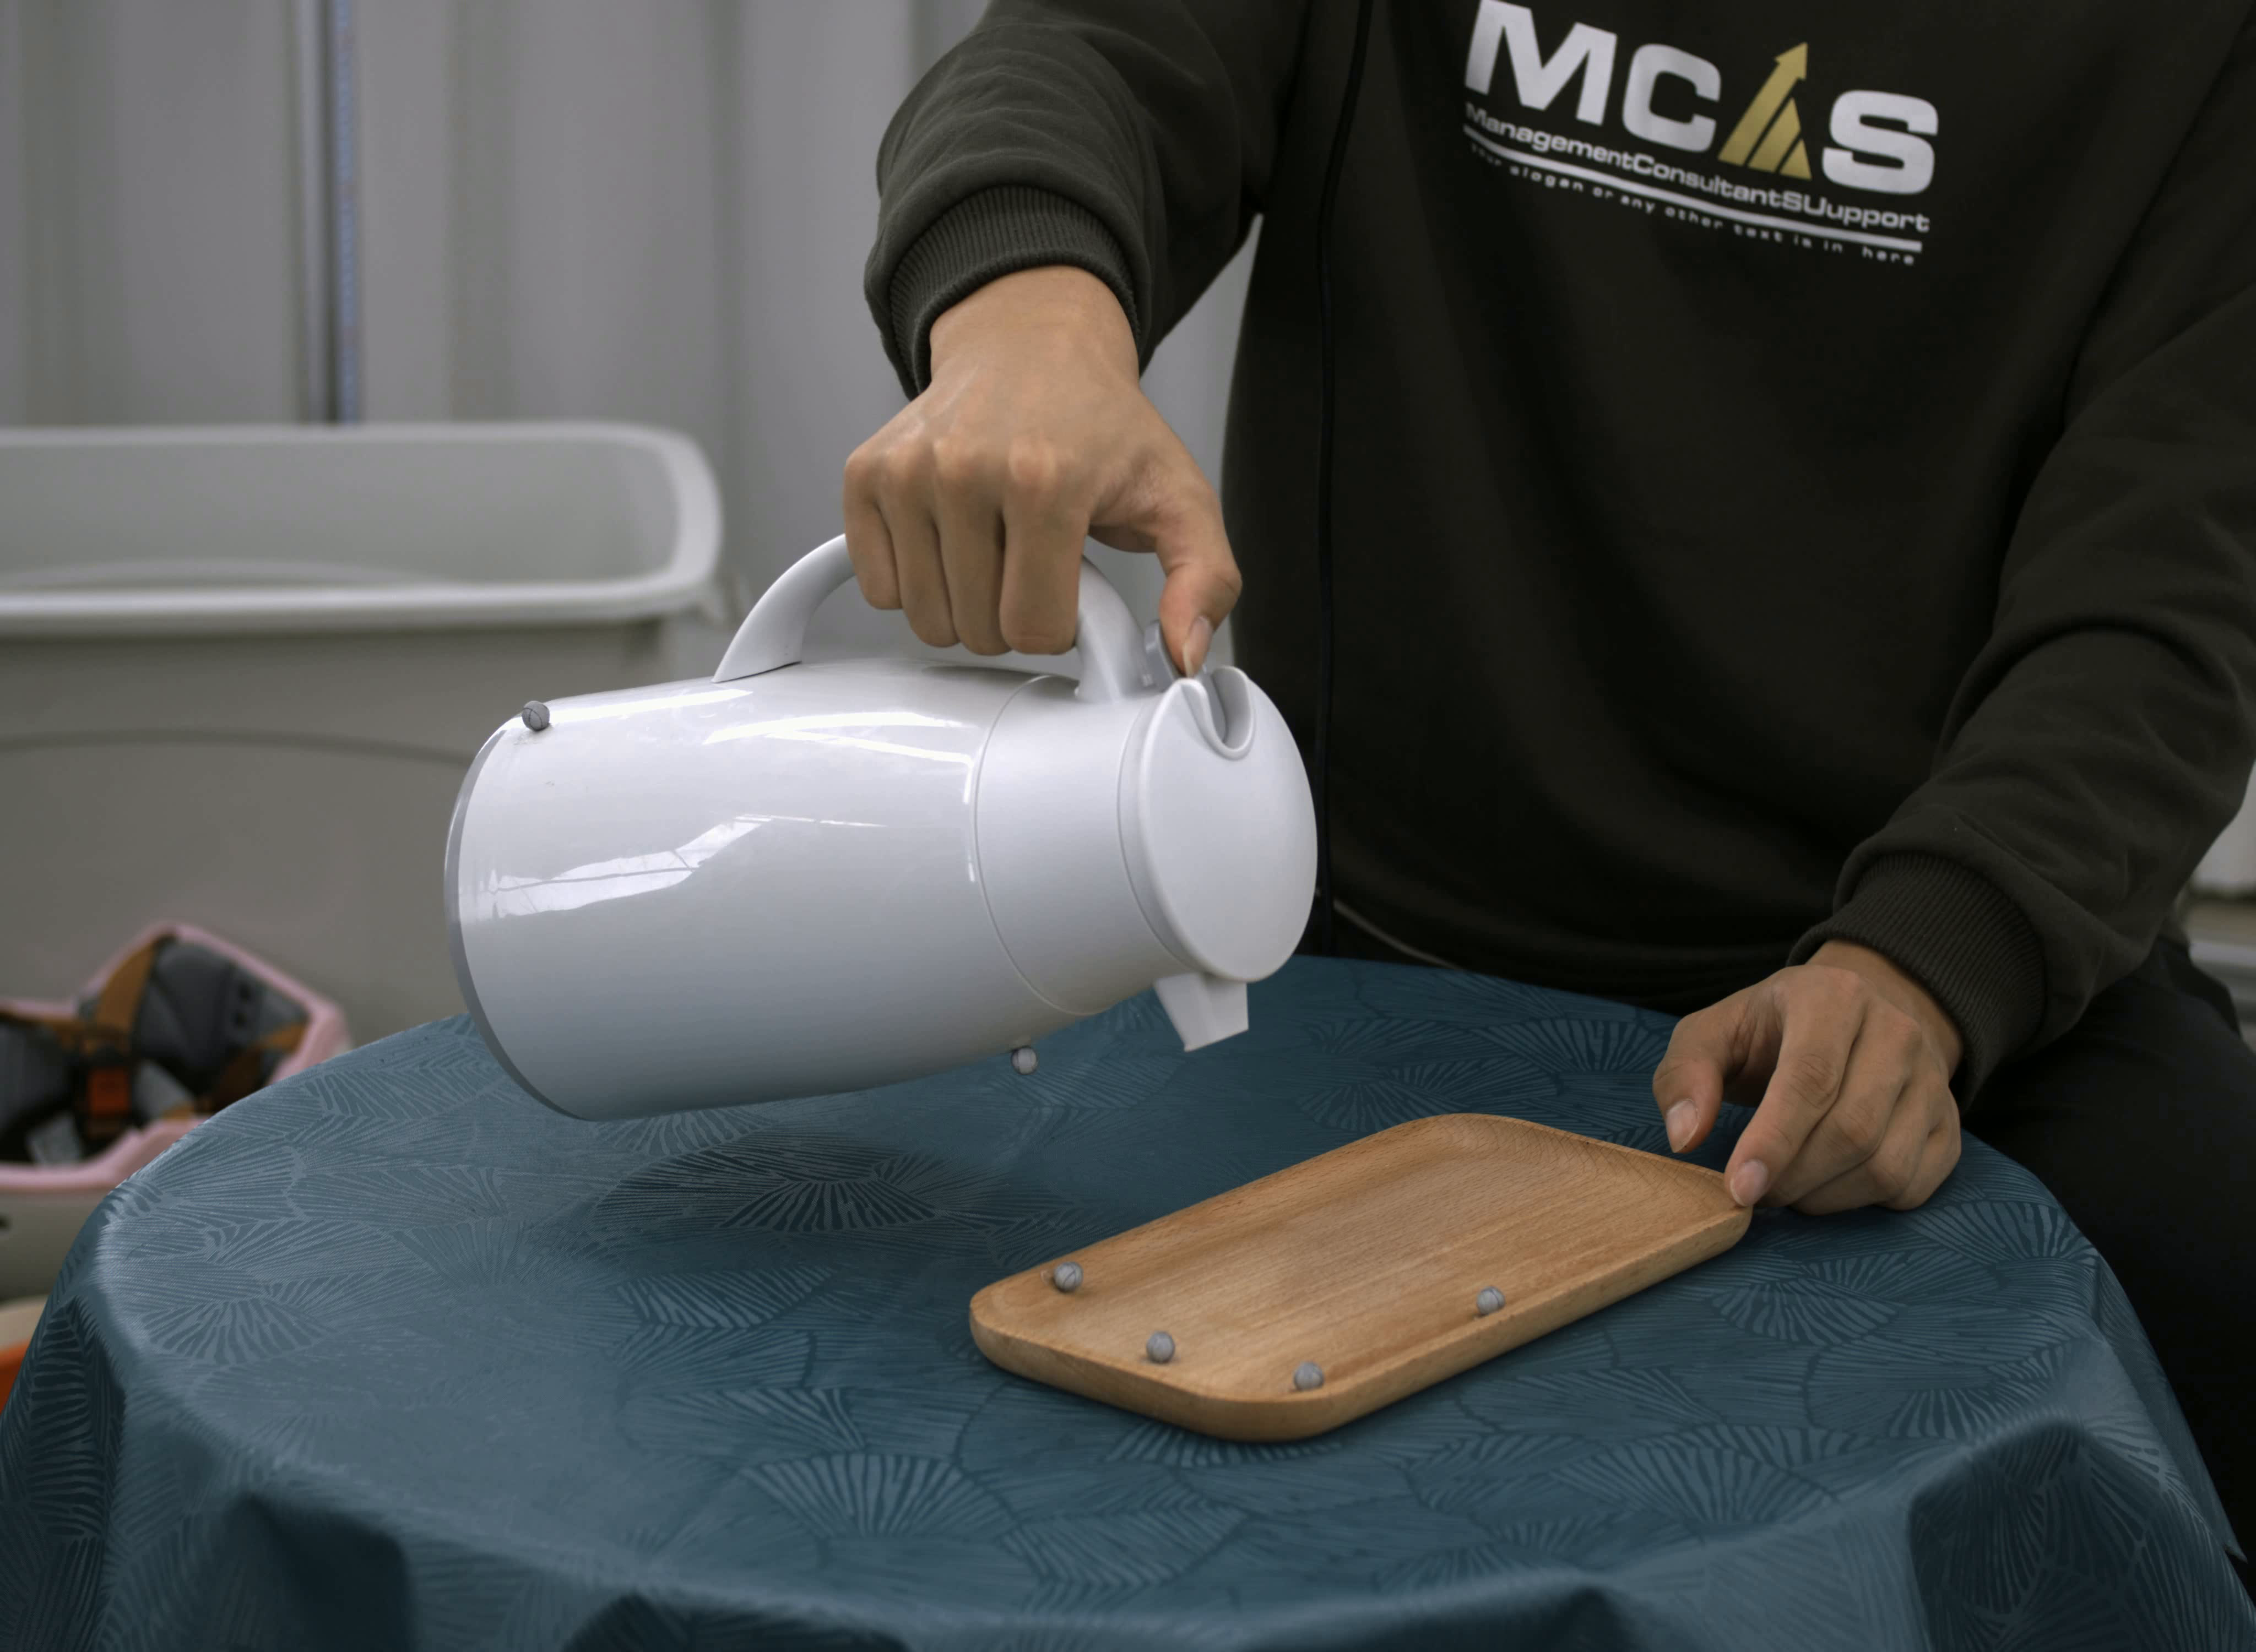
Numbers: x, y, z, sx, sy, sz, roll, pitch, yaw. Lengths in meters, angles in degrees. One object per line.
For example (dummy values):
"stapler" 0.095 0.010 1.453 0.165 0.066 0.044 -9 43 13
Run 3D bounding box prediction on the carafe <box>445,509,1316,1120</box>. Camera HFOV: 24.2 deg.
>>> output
"carafe" -0.071 -0.006 1.559 0.246 0.168 0.133 -8 7 33

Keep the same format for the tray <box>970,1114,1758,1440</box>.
"tray" 0.073 0.129 1.544 0.129 0.023 0.252 16 21 38
